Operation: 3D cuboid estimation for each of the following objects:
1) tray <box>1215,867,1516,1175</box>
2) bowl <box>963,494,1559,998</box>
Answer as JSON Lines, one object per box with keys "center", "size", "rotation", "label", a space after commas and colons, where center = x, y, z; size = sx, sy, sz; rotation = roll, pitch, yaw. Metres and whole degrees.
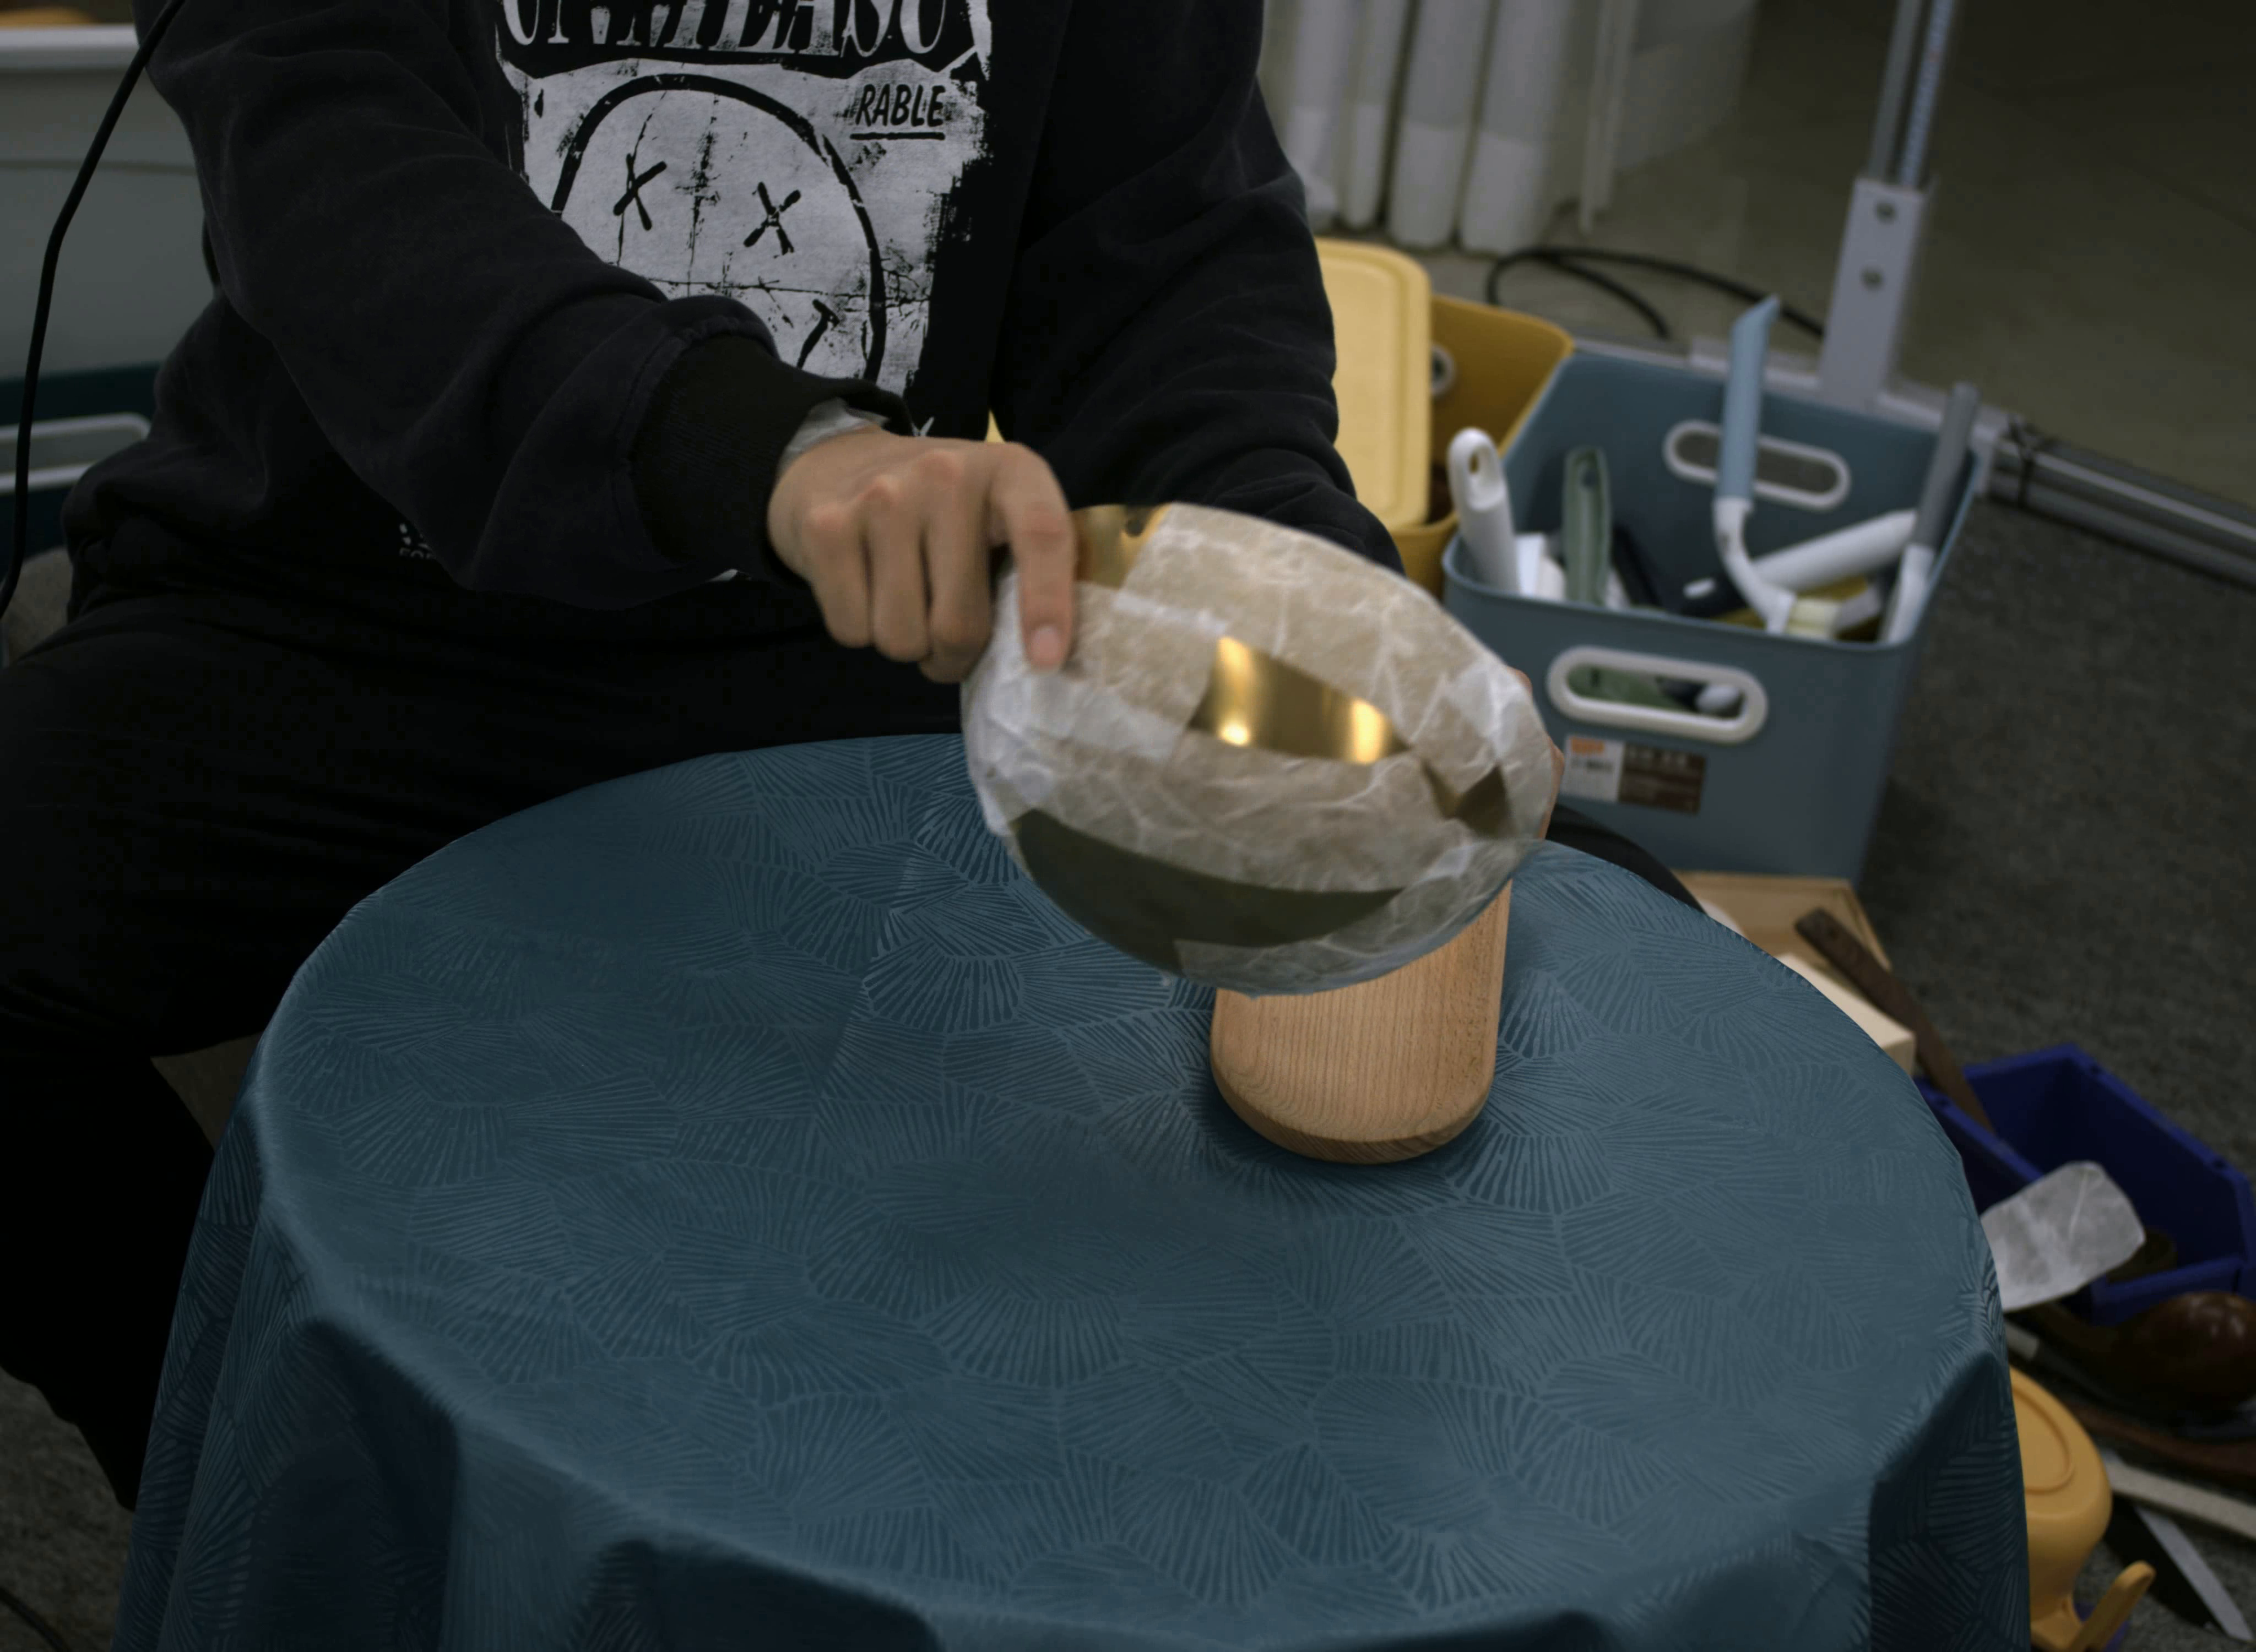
{"center": [0.087, 0.044, 1.911], "size": [0.101, 0.020, 0.233], "rotation": [4, 41, 4], "label": "tray"}
{"center": [0.030, -0.006, 1.729], "size": [0.215, 0.213, 0.095], "rotation": [15, 58, 15], "label": "bowl"}
